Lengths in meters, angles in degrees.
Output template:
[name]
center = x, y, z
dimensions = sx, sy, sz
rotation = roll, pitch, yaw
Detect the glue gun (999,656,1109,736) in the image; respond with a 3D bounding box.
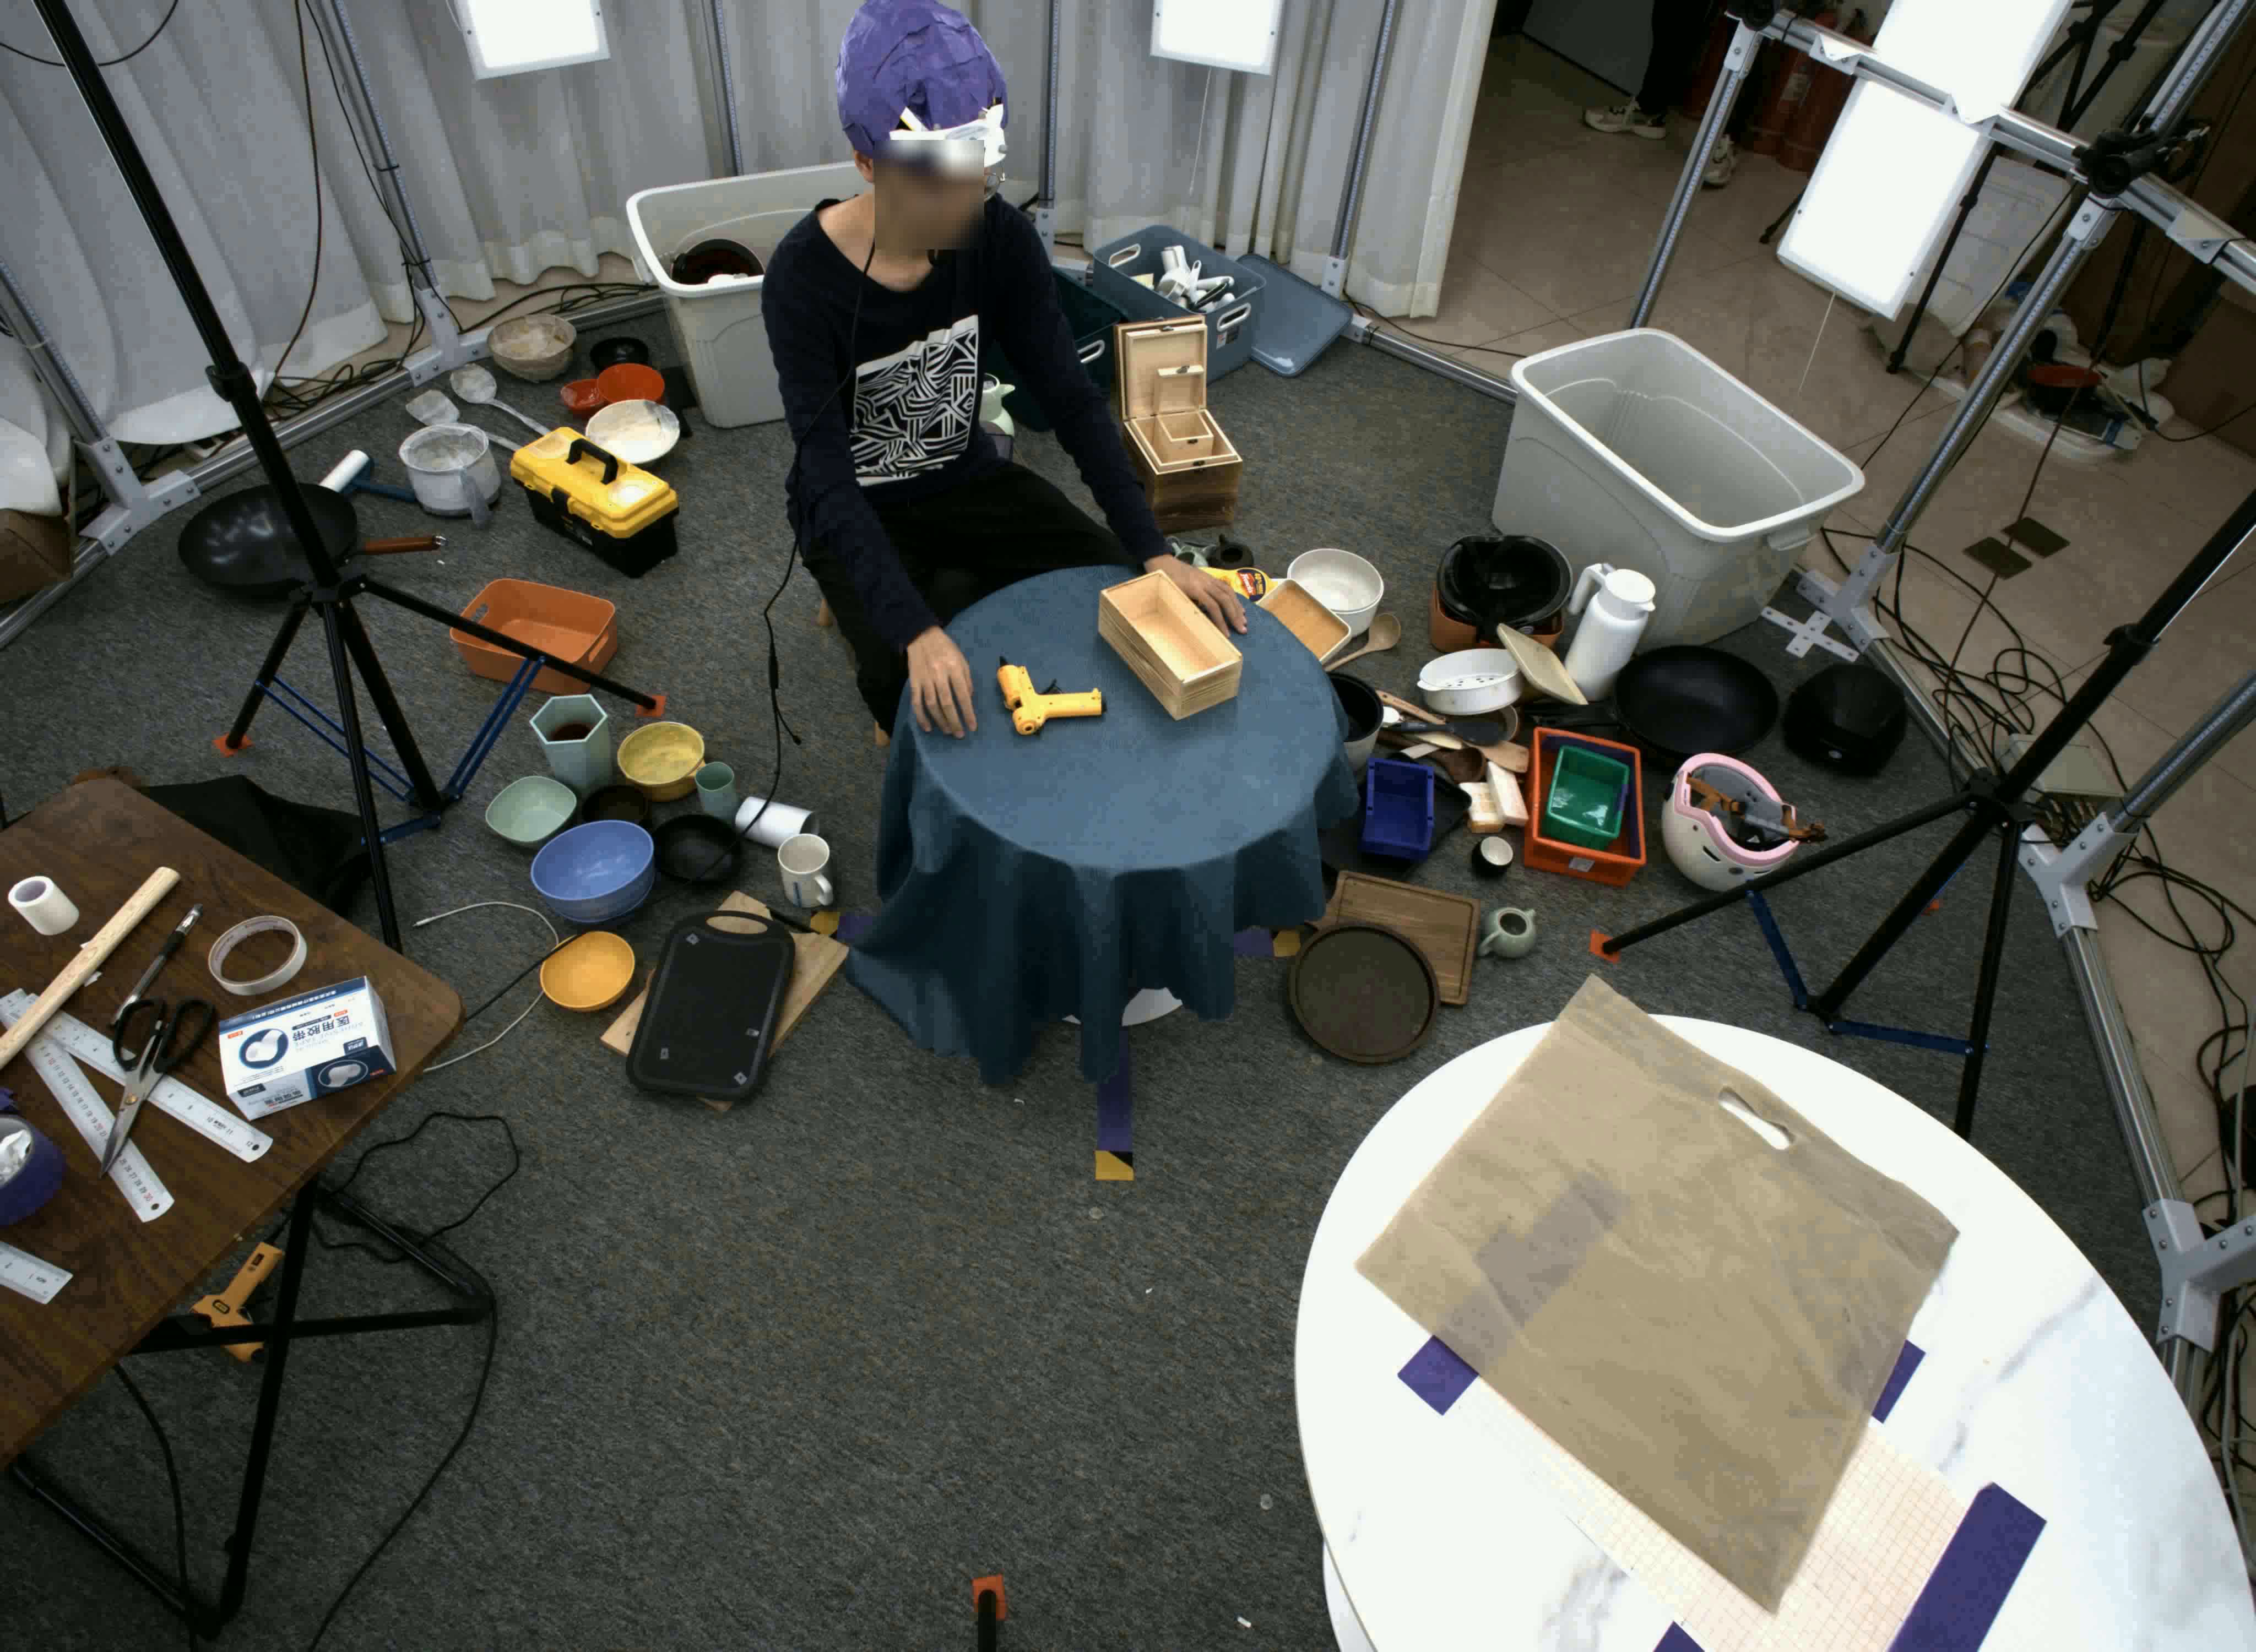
[glue gun]
center = -0.115, -0.198, 1.807
dimensions = 0.133, 0.030, 0.155
rotation = -15, 52, -17

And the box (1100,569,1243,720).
[box]
center = 0.059, -0.264, 1.842
dimensions = 0.108, 0.078, 0.216
rotation = -23, 55, -22
